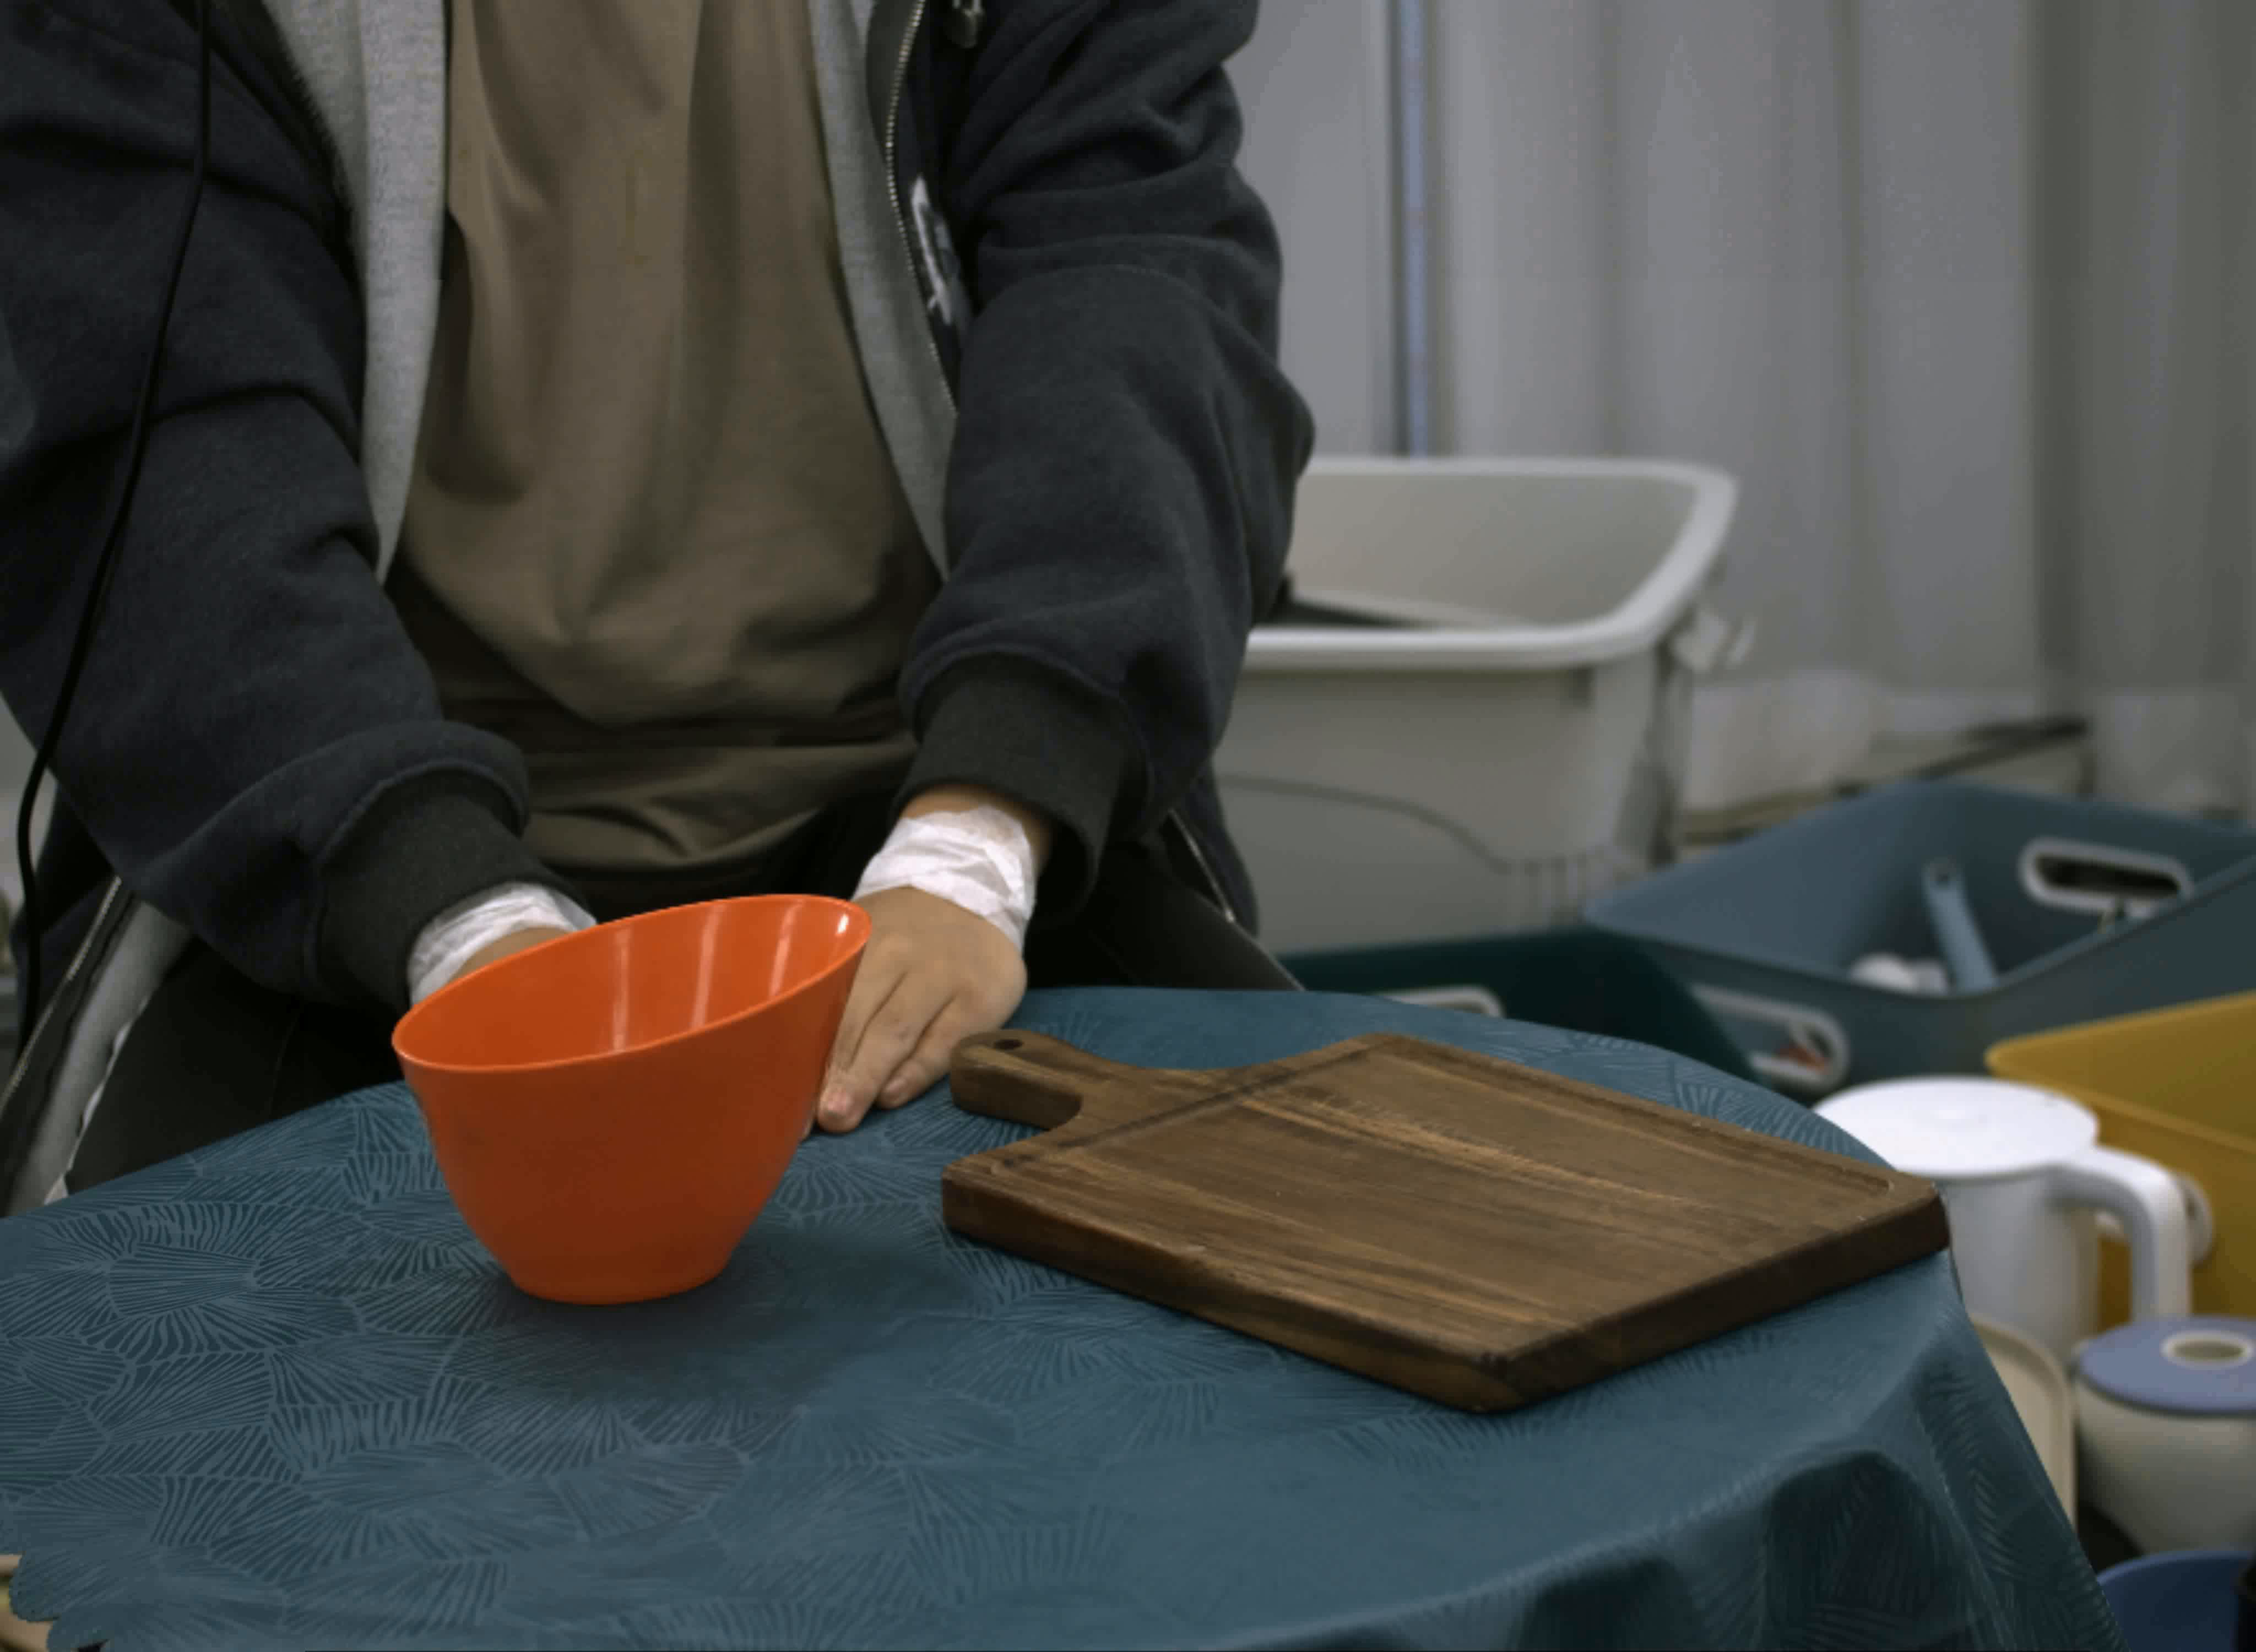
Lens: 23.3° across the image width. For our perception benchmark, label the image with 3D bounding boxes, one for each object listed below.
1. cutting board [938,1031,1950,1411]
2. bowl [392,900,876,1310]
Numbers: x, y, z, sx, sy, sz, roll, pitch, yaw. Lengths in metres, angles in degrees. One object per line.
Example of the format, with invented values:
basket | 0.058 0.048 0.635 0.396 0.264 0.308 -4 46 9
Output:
cutting board | 0.061 0.107 1.694 0.200 0.023 0.354 -15 19 -38
bowl | -0.147 0.087 1.656 0.147 0.104 0.149 -3 15 0
